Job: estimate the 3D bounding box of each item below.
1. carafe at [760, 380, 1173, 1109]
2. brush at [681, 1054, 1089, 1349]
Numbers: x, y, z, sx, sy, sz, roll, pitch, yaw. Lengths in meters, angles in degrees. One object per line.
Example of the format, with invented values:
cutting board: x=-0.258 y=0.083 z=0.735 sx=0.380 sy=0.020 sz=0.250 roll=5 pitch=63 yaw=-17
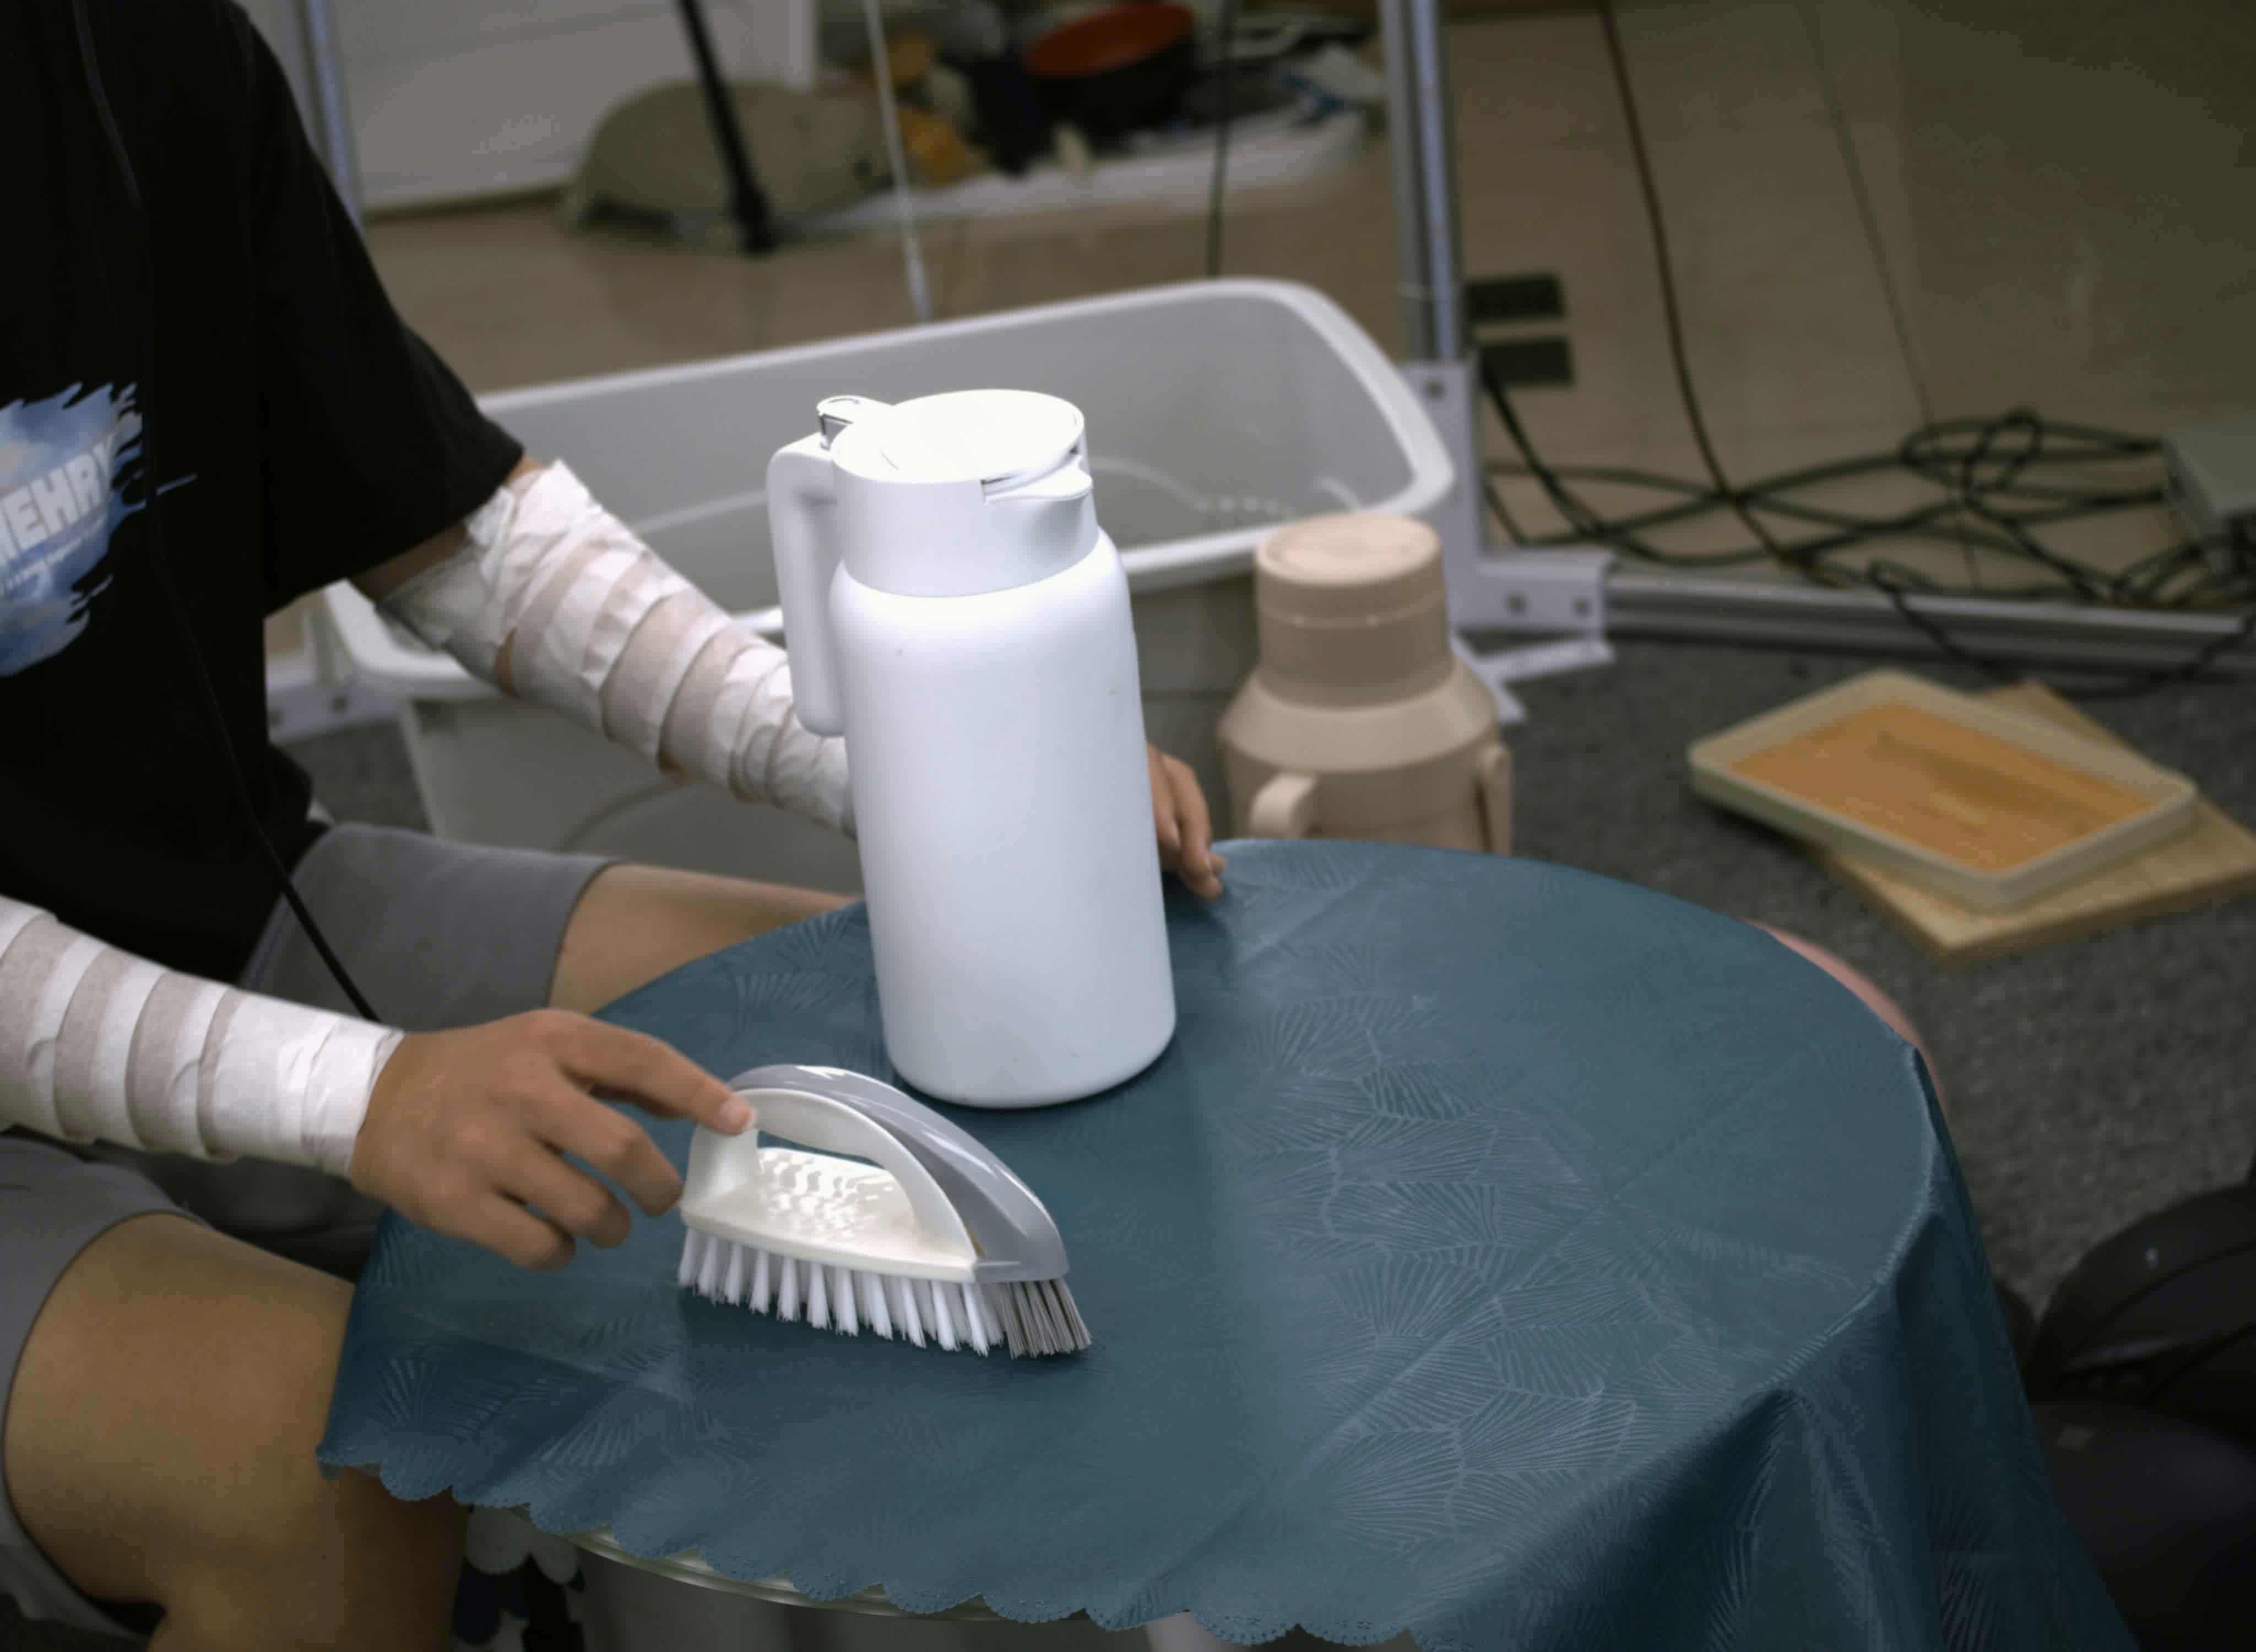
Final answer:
carafe: x=-0.066 y=-0.034 z=2.215 sx=0.171 sy=0.273 sz=0.122 roll=17 pitch=36 yaw=40
brush: x=-0.089 y=0.133 z=2.071 sx=0.174 sy=0.096 sz=0.061 roll=14 pitch=35 yaw=34
